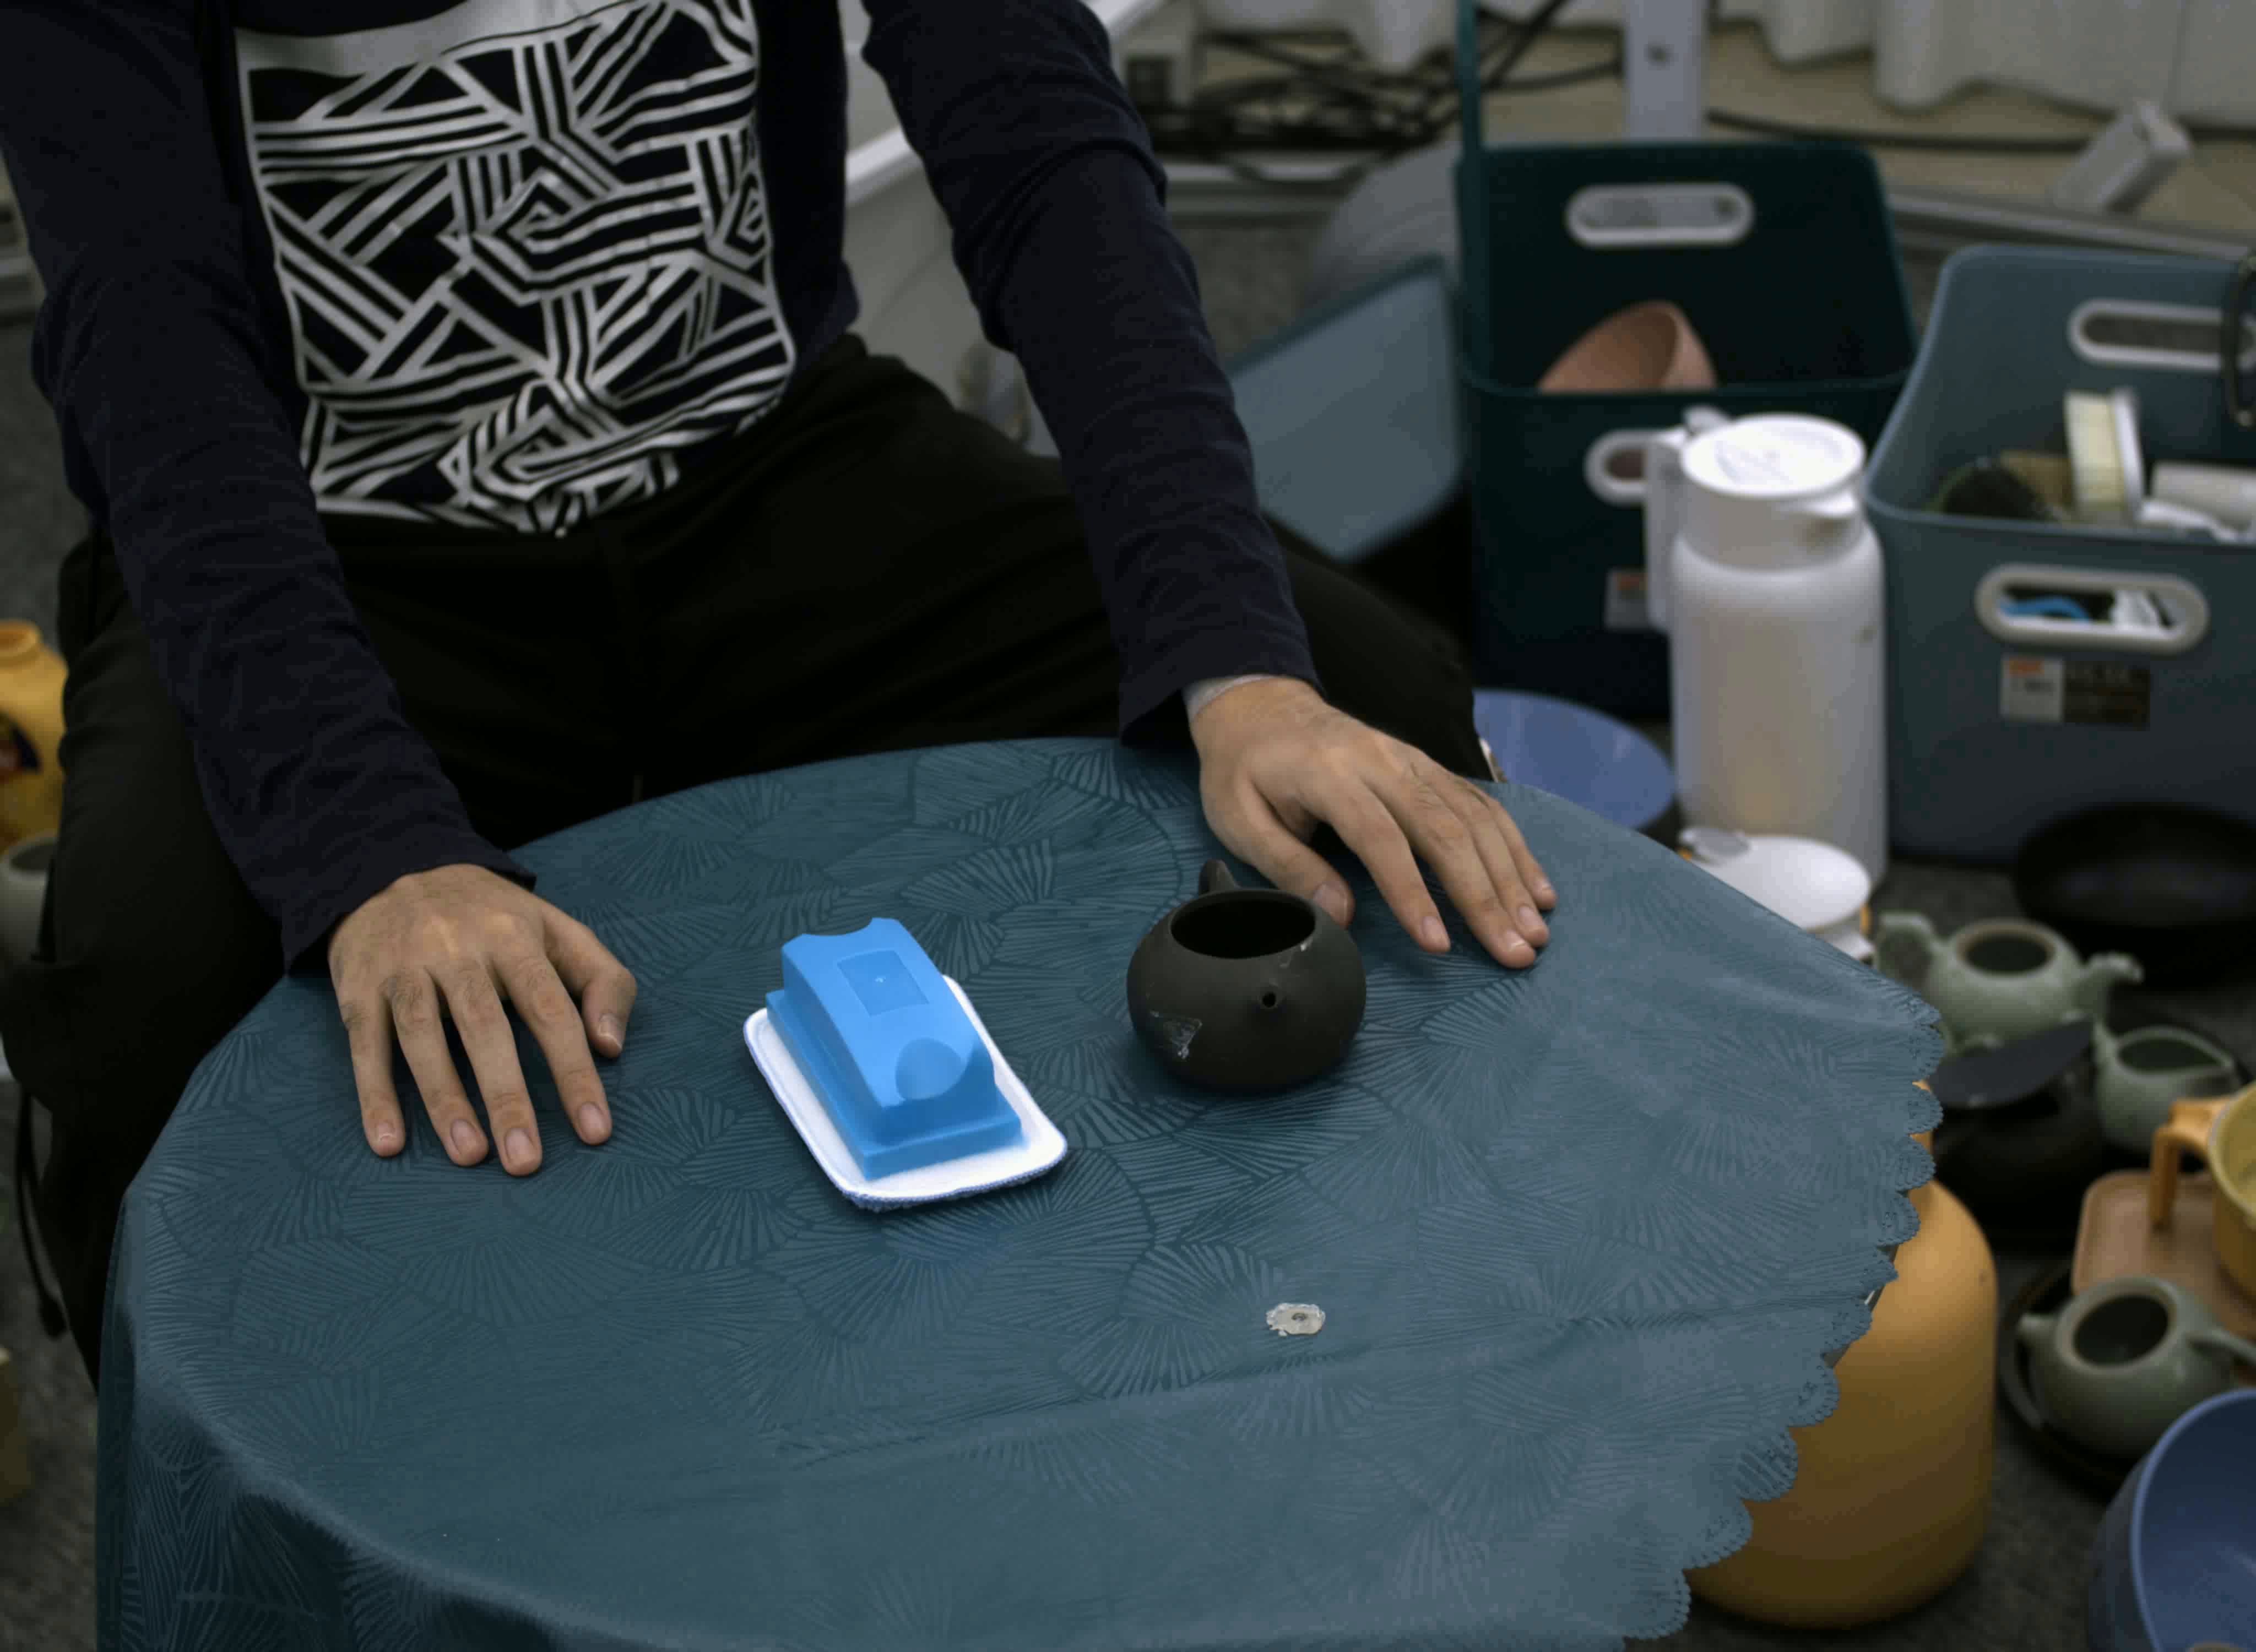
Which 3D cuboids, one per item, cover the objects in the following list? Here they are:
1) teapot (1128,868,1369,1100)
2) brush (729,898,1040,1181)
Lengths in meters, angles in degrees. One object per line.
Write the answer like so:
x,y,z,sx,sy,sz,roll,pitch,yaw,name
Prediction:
0.040,0.052,1.937,0.083,0.052,0.116,-2,29,-6,teapot
-0.082,0.068,1.906,0.084,0.055,0.145,-7,29,-16,brush
